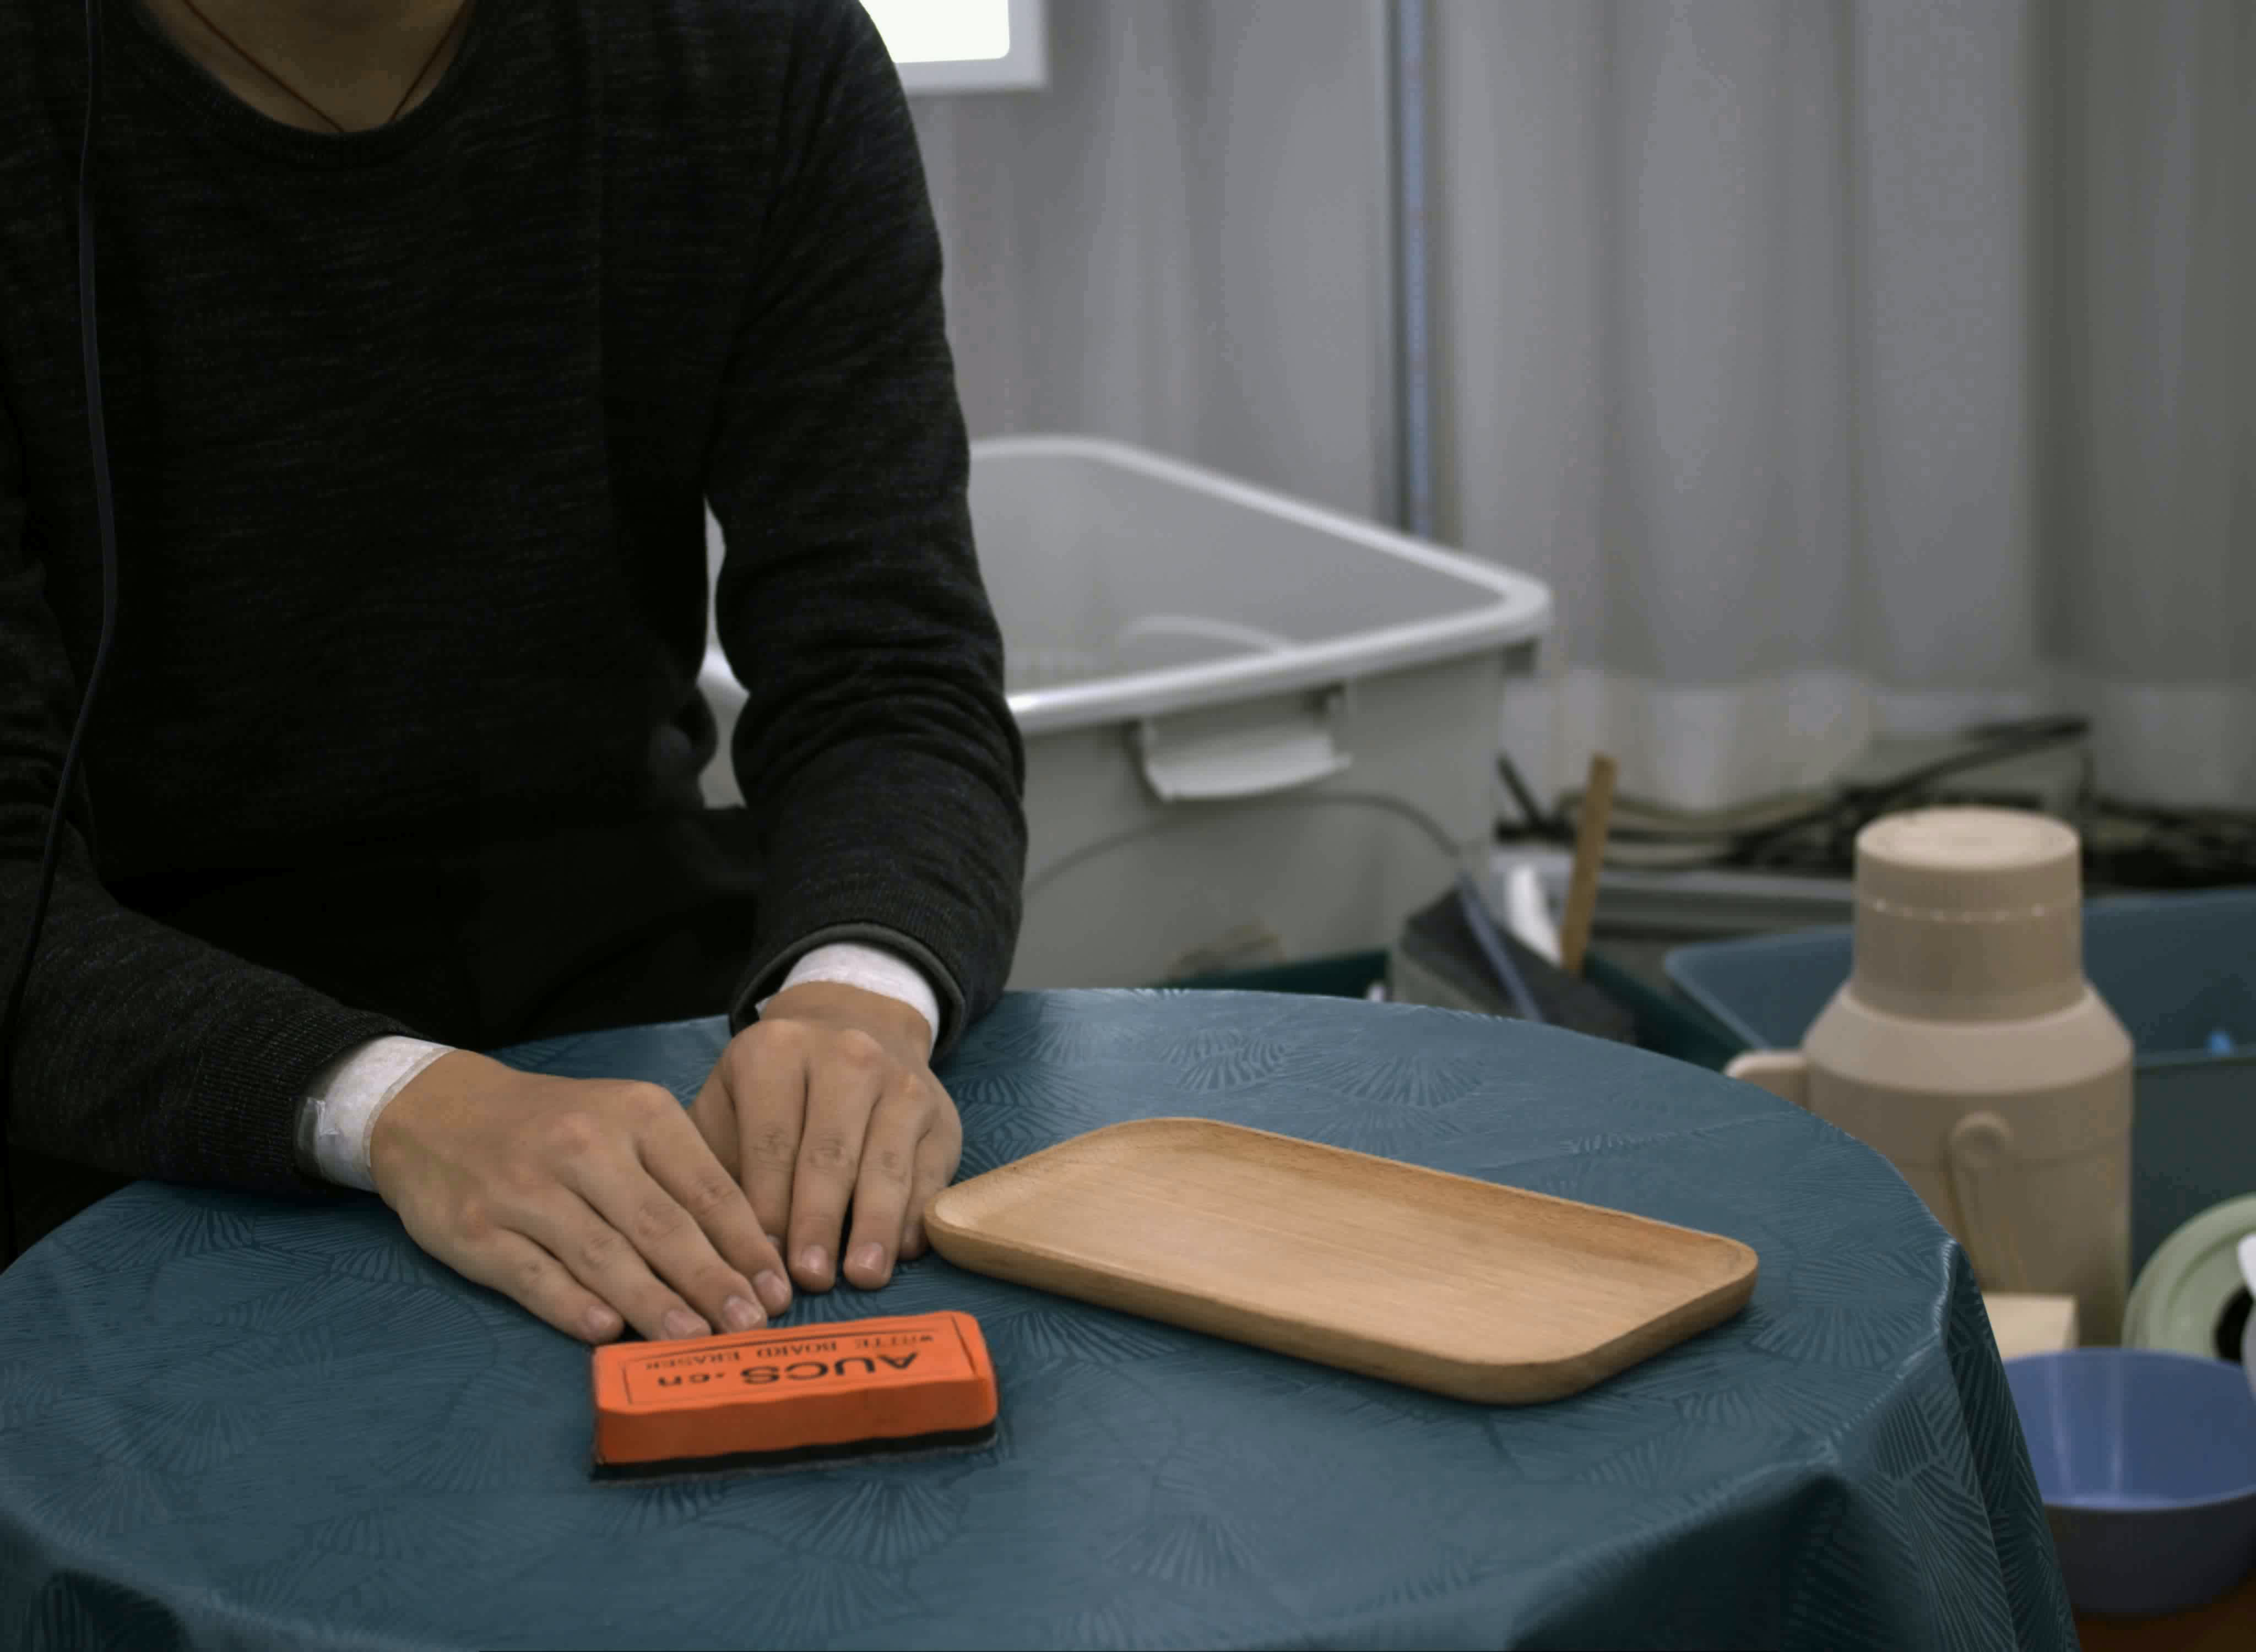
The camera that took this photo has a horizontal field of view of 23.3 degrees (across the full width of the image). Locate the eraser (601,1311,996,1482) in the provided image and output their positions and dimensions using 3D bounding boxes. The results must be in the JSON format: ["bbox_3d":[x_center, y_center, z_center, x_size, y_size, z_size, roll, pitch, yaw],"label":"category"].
[{"bbox_3d":[-0.092,0.158,1.520,0.107,0.023,0.059,-5,14,-6],"label":"eraser"}]

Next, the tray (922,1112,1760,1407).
[{"bbox_3d":[0.060,0.127,1.624,0.252,0.023,0.130,10,17,43],"label":"tray"}]
